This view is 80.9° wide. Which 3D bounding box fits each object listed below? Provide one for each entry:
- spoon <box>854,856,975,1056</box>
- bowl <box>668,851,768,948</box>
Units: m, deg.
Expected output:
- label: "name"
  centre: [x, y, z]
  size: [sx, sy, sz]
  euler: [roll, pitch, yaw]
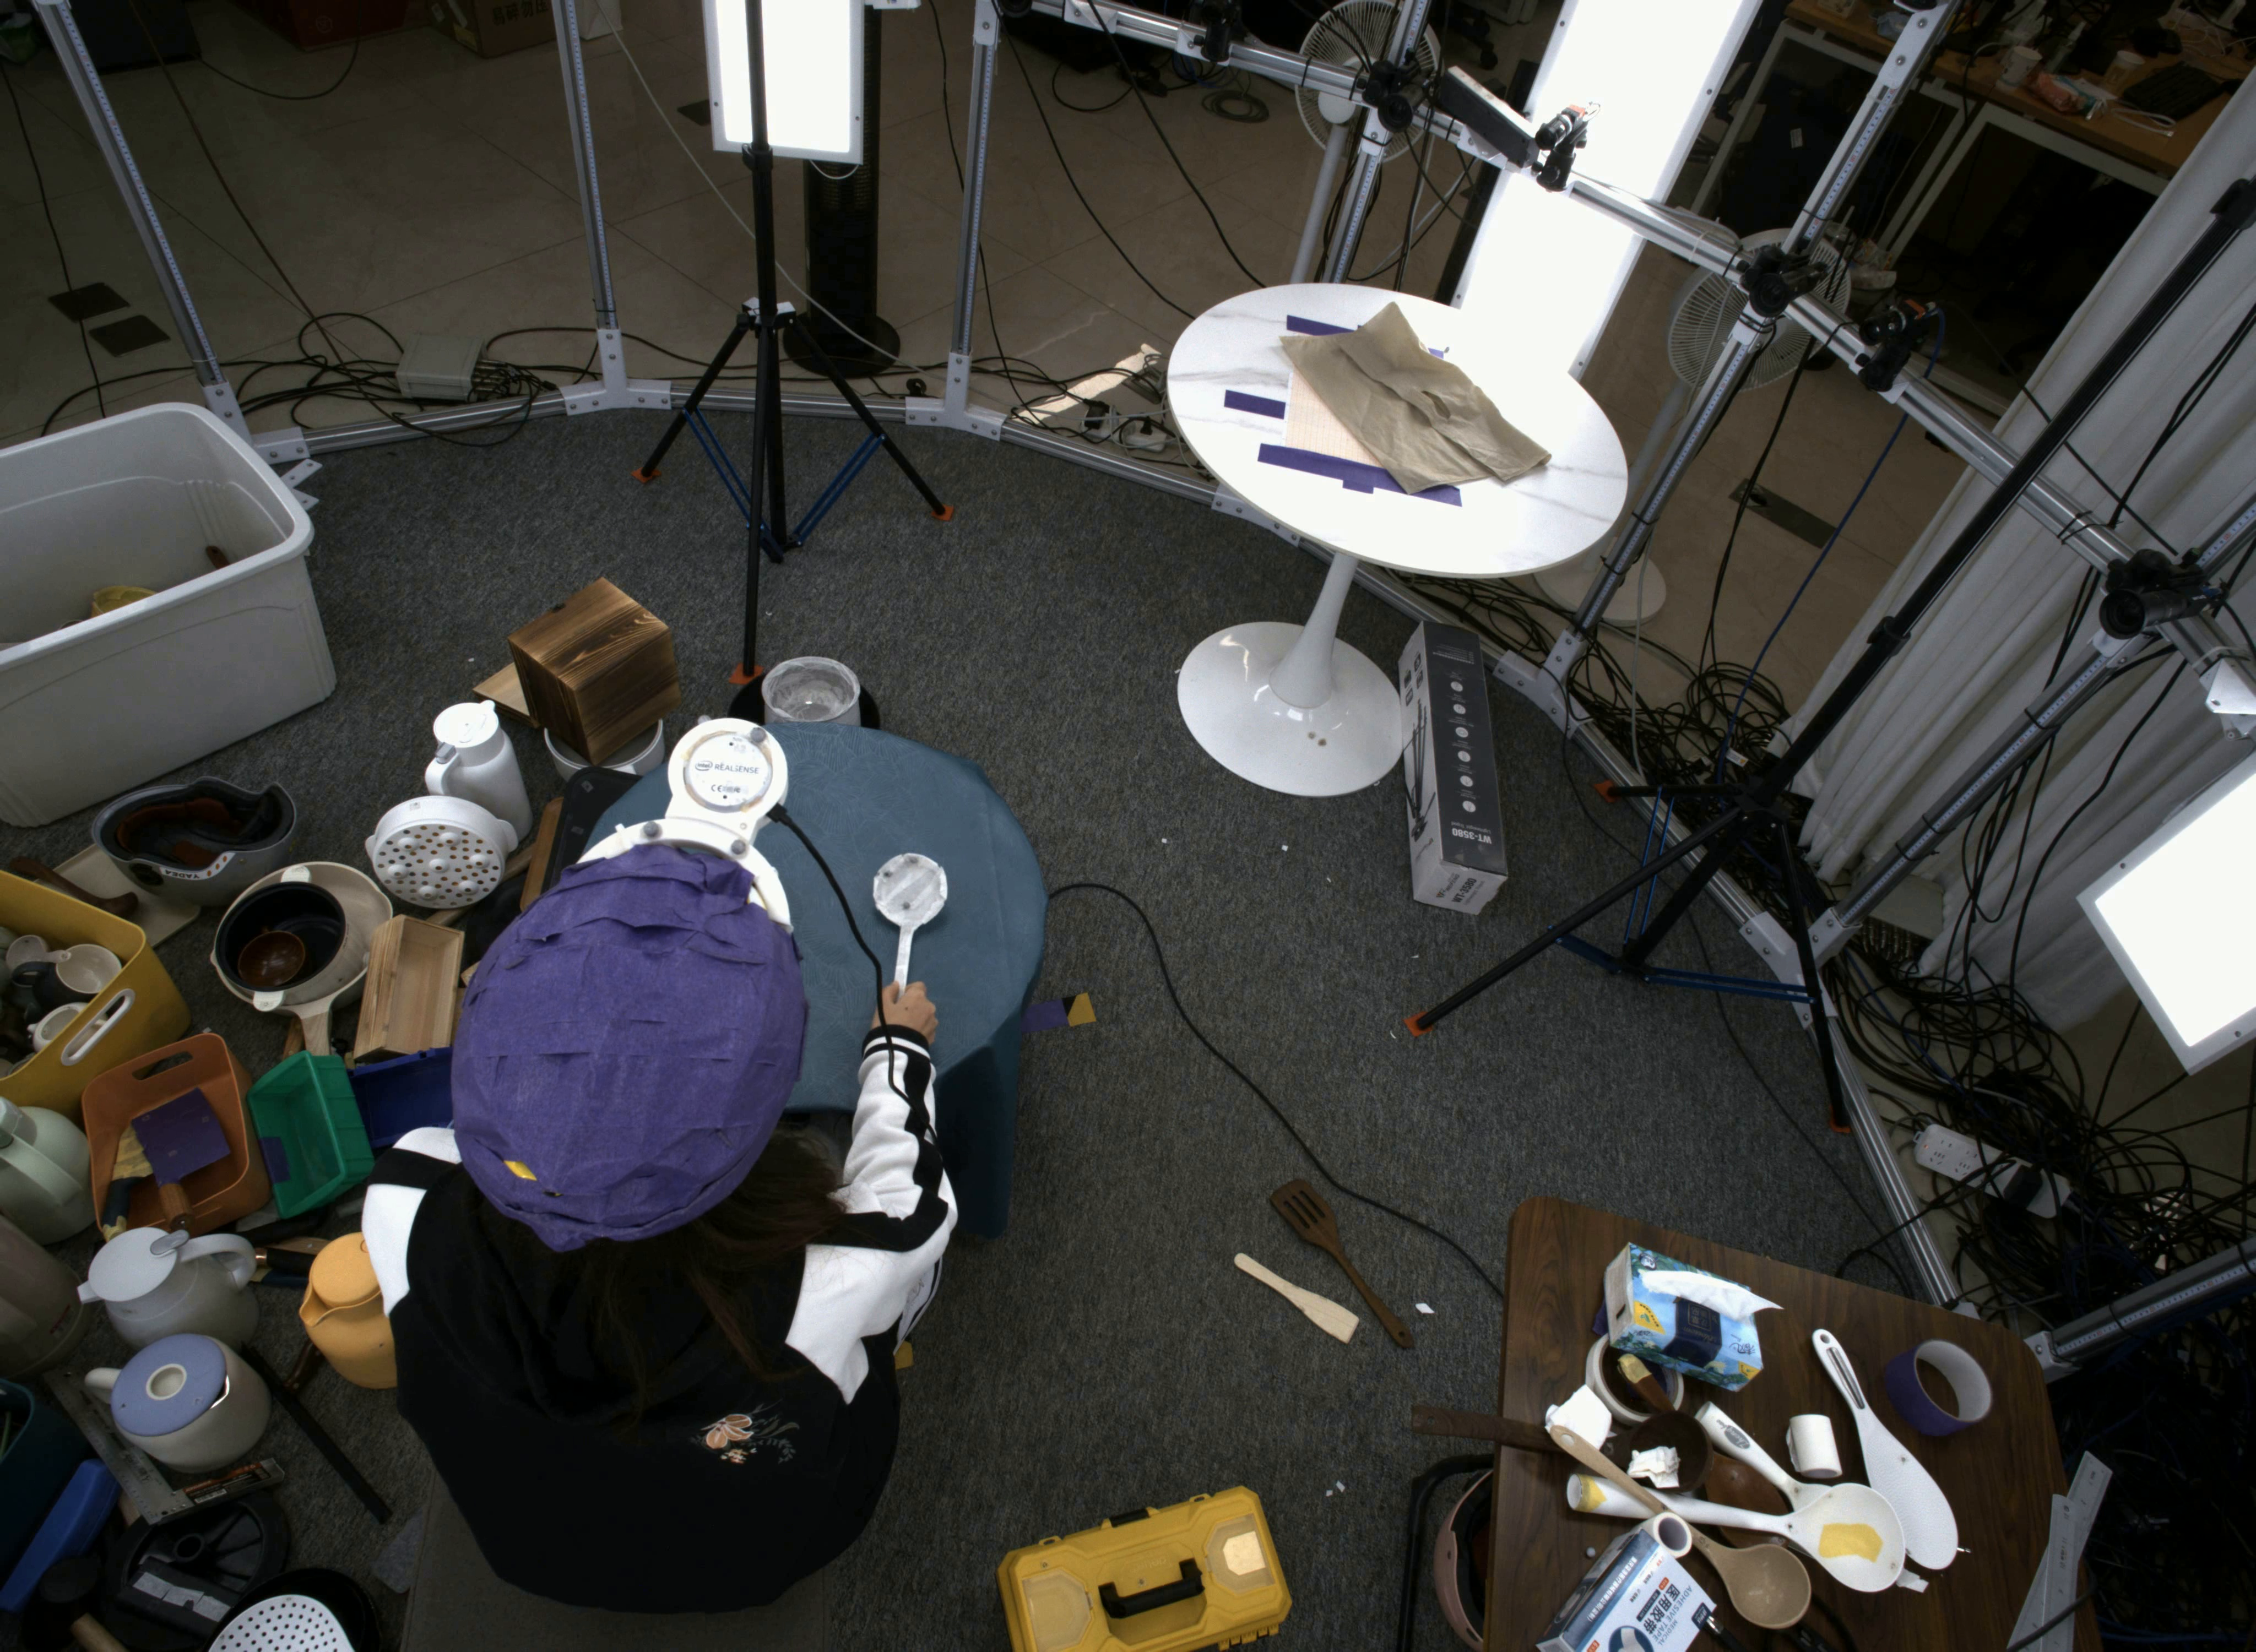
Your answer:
- label: "spoon"
  centre: [-0.261, 0.168, 1.689]
  size: [0.100, 0.286, 0.058]
  euler: [-27, 22, -7]
- label: "bowl"
  centre: [-0.500, 0.095, 1.580]
  size: [0.118, 0.071, 0.116]
  euler: [7, 52, -8]
